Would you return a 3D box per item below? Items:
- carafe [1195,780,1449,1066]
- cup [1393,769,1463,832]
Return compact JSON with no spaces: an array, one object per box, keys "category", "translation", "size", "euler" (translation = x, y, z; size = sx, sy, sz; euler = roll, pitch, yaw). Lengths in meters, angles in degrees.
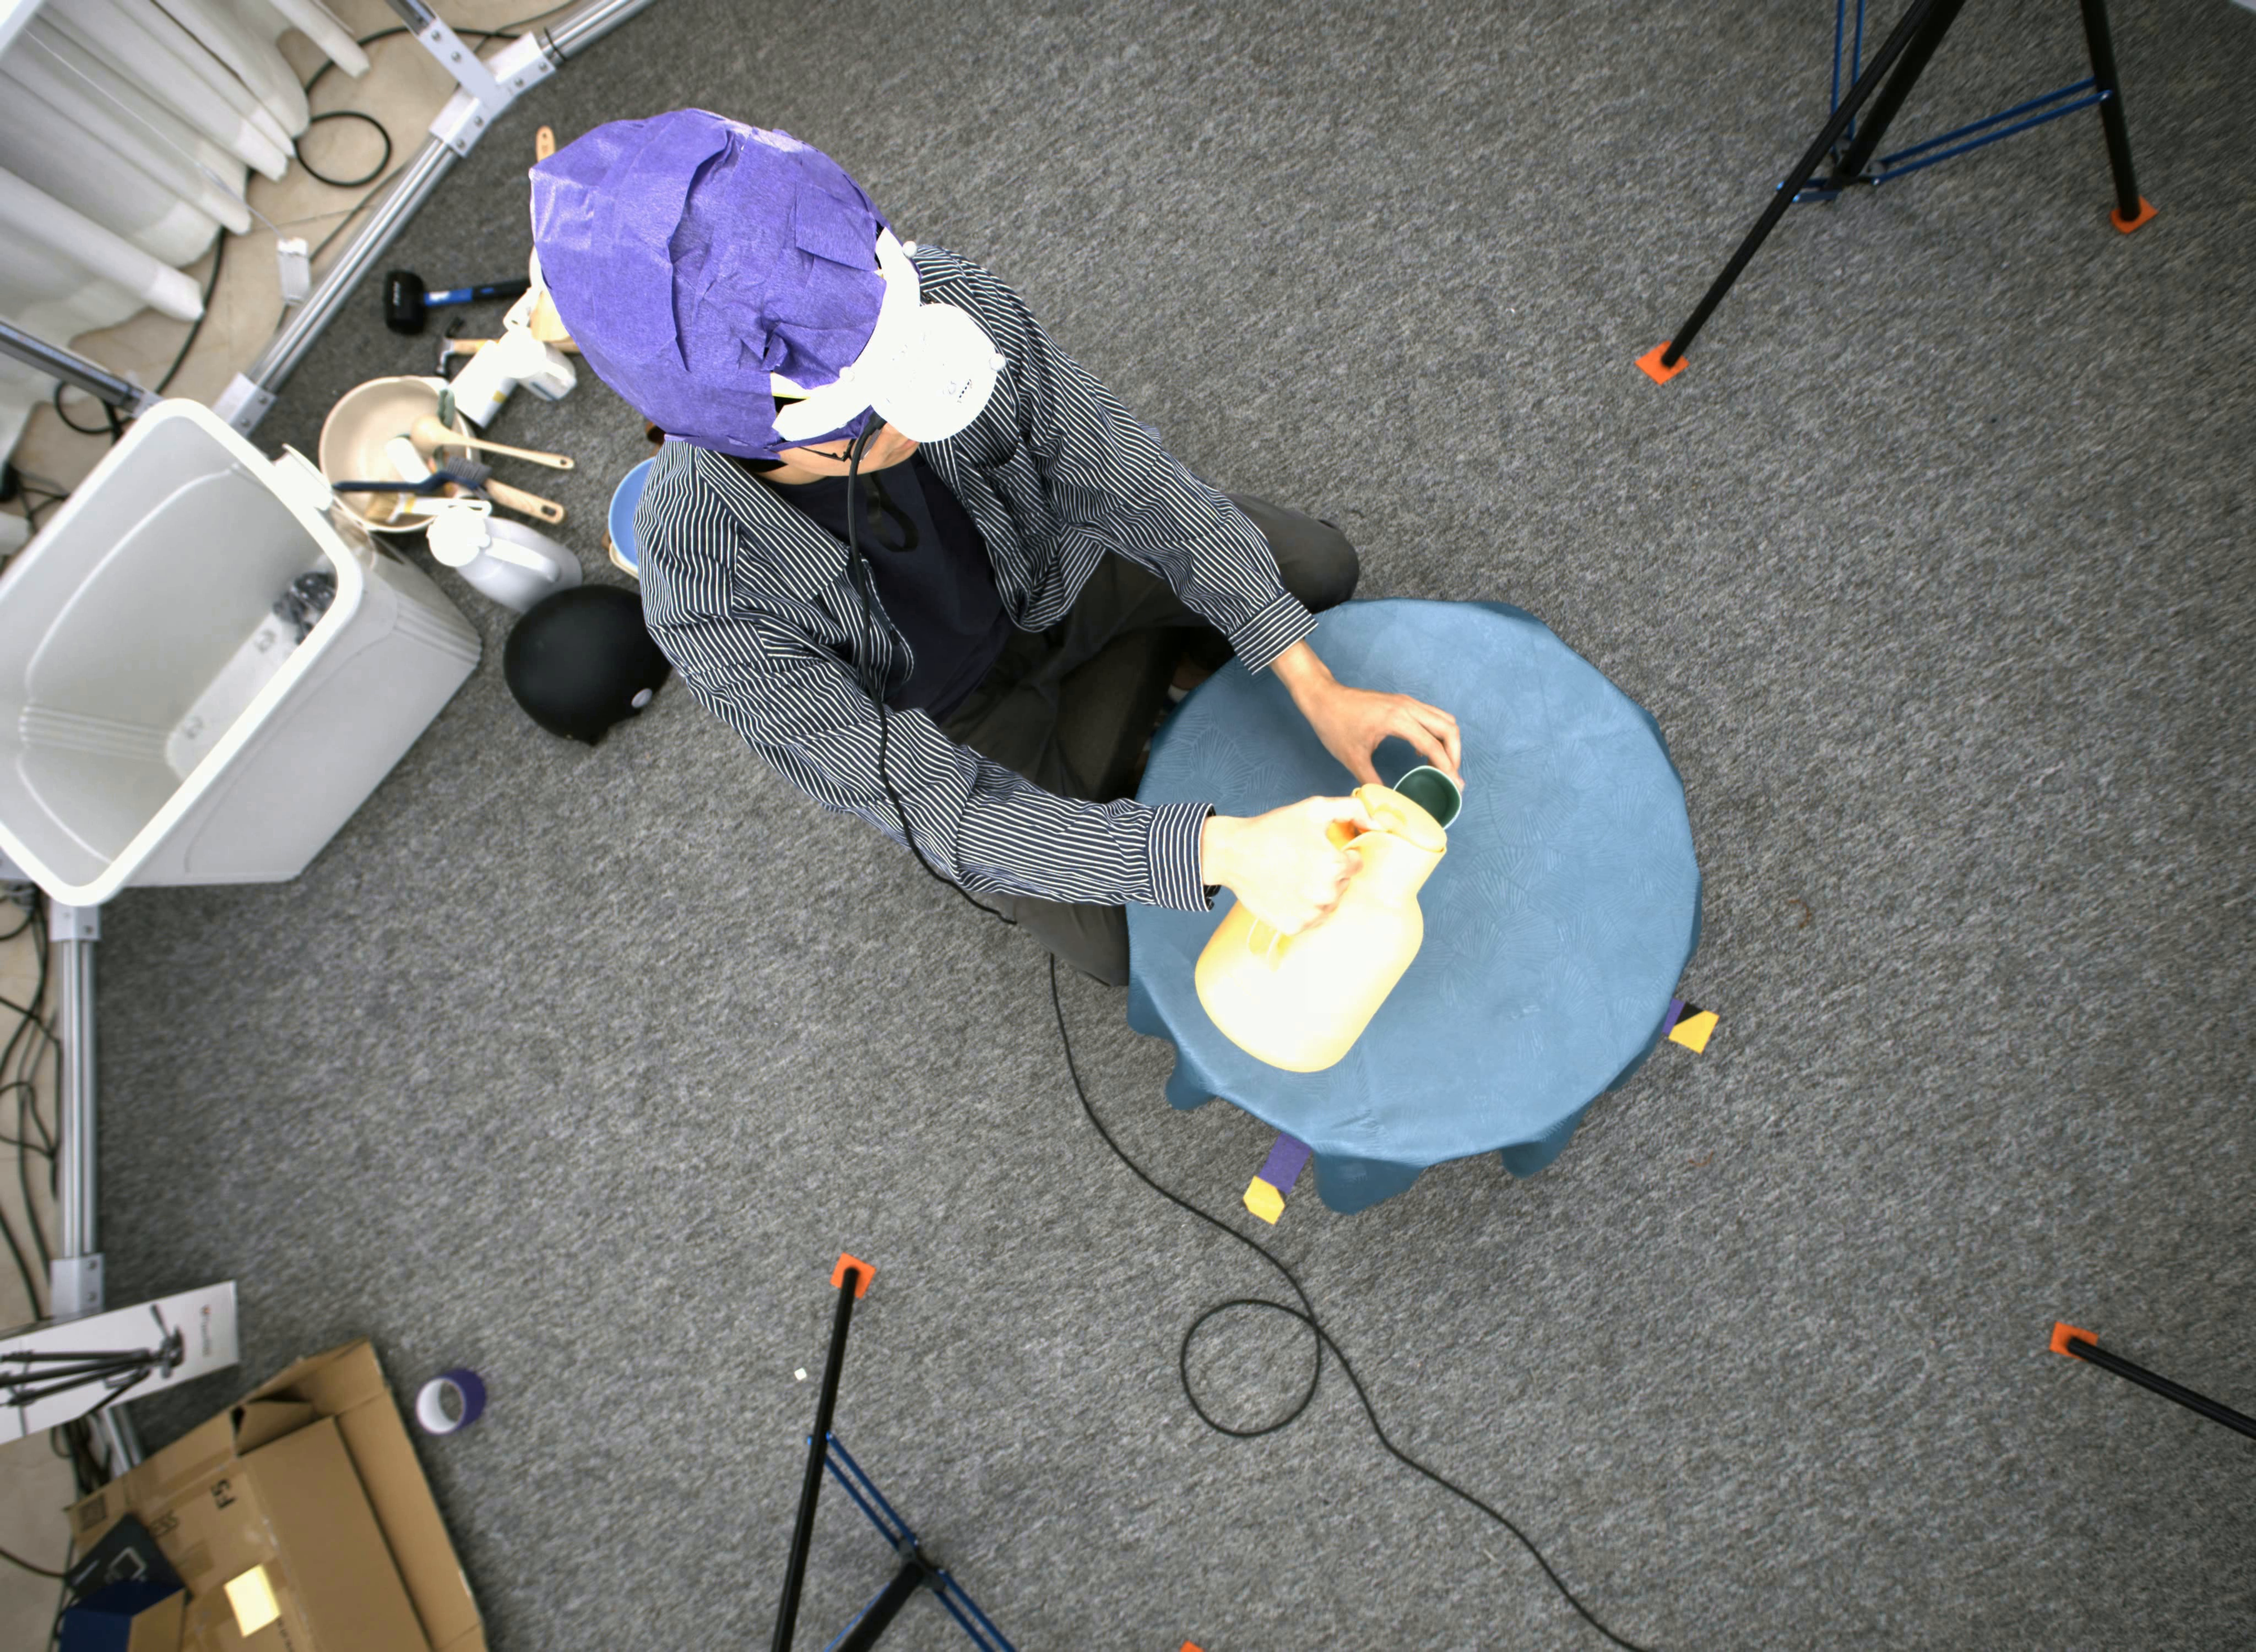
[{"category":"carafe","translation":[0.172,0.081,1.240],"size":[0.162,0.200,0.265],"euler":[42,115,24]},{"category":"cup","translation":[0.287,-0.025,1.345],"size":[0.067,0.131,0.067],"euler":[1,93,9]}]
